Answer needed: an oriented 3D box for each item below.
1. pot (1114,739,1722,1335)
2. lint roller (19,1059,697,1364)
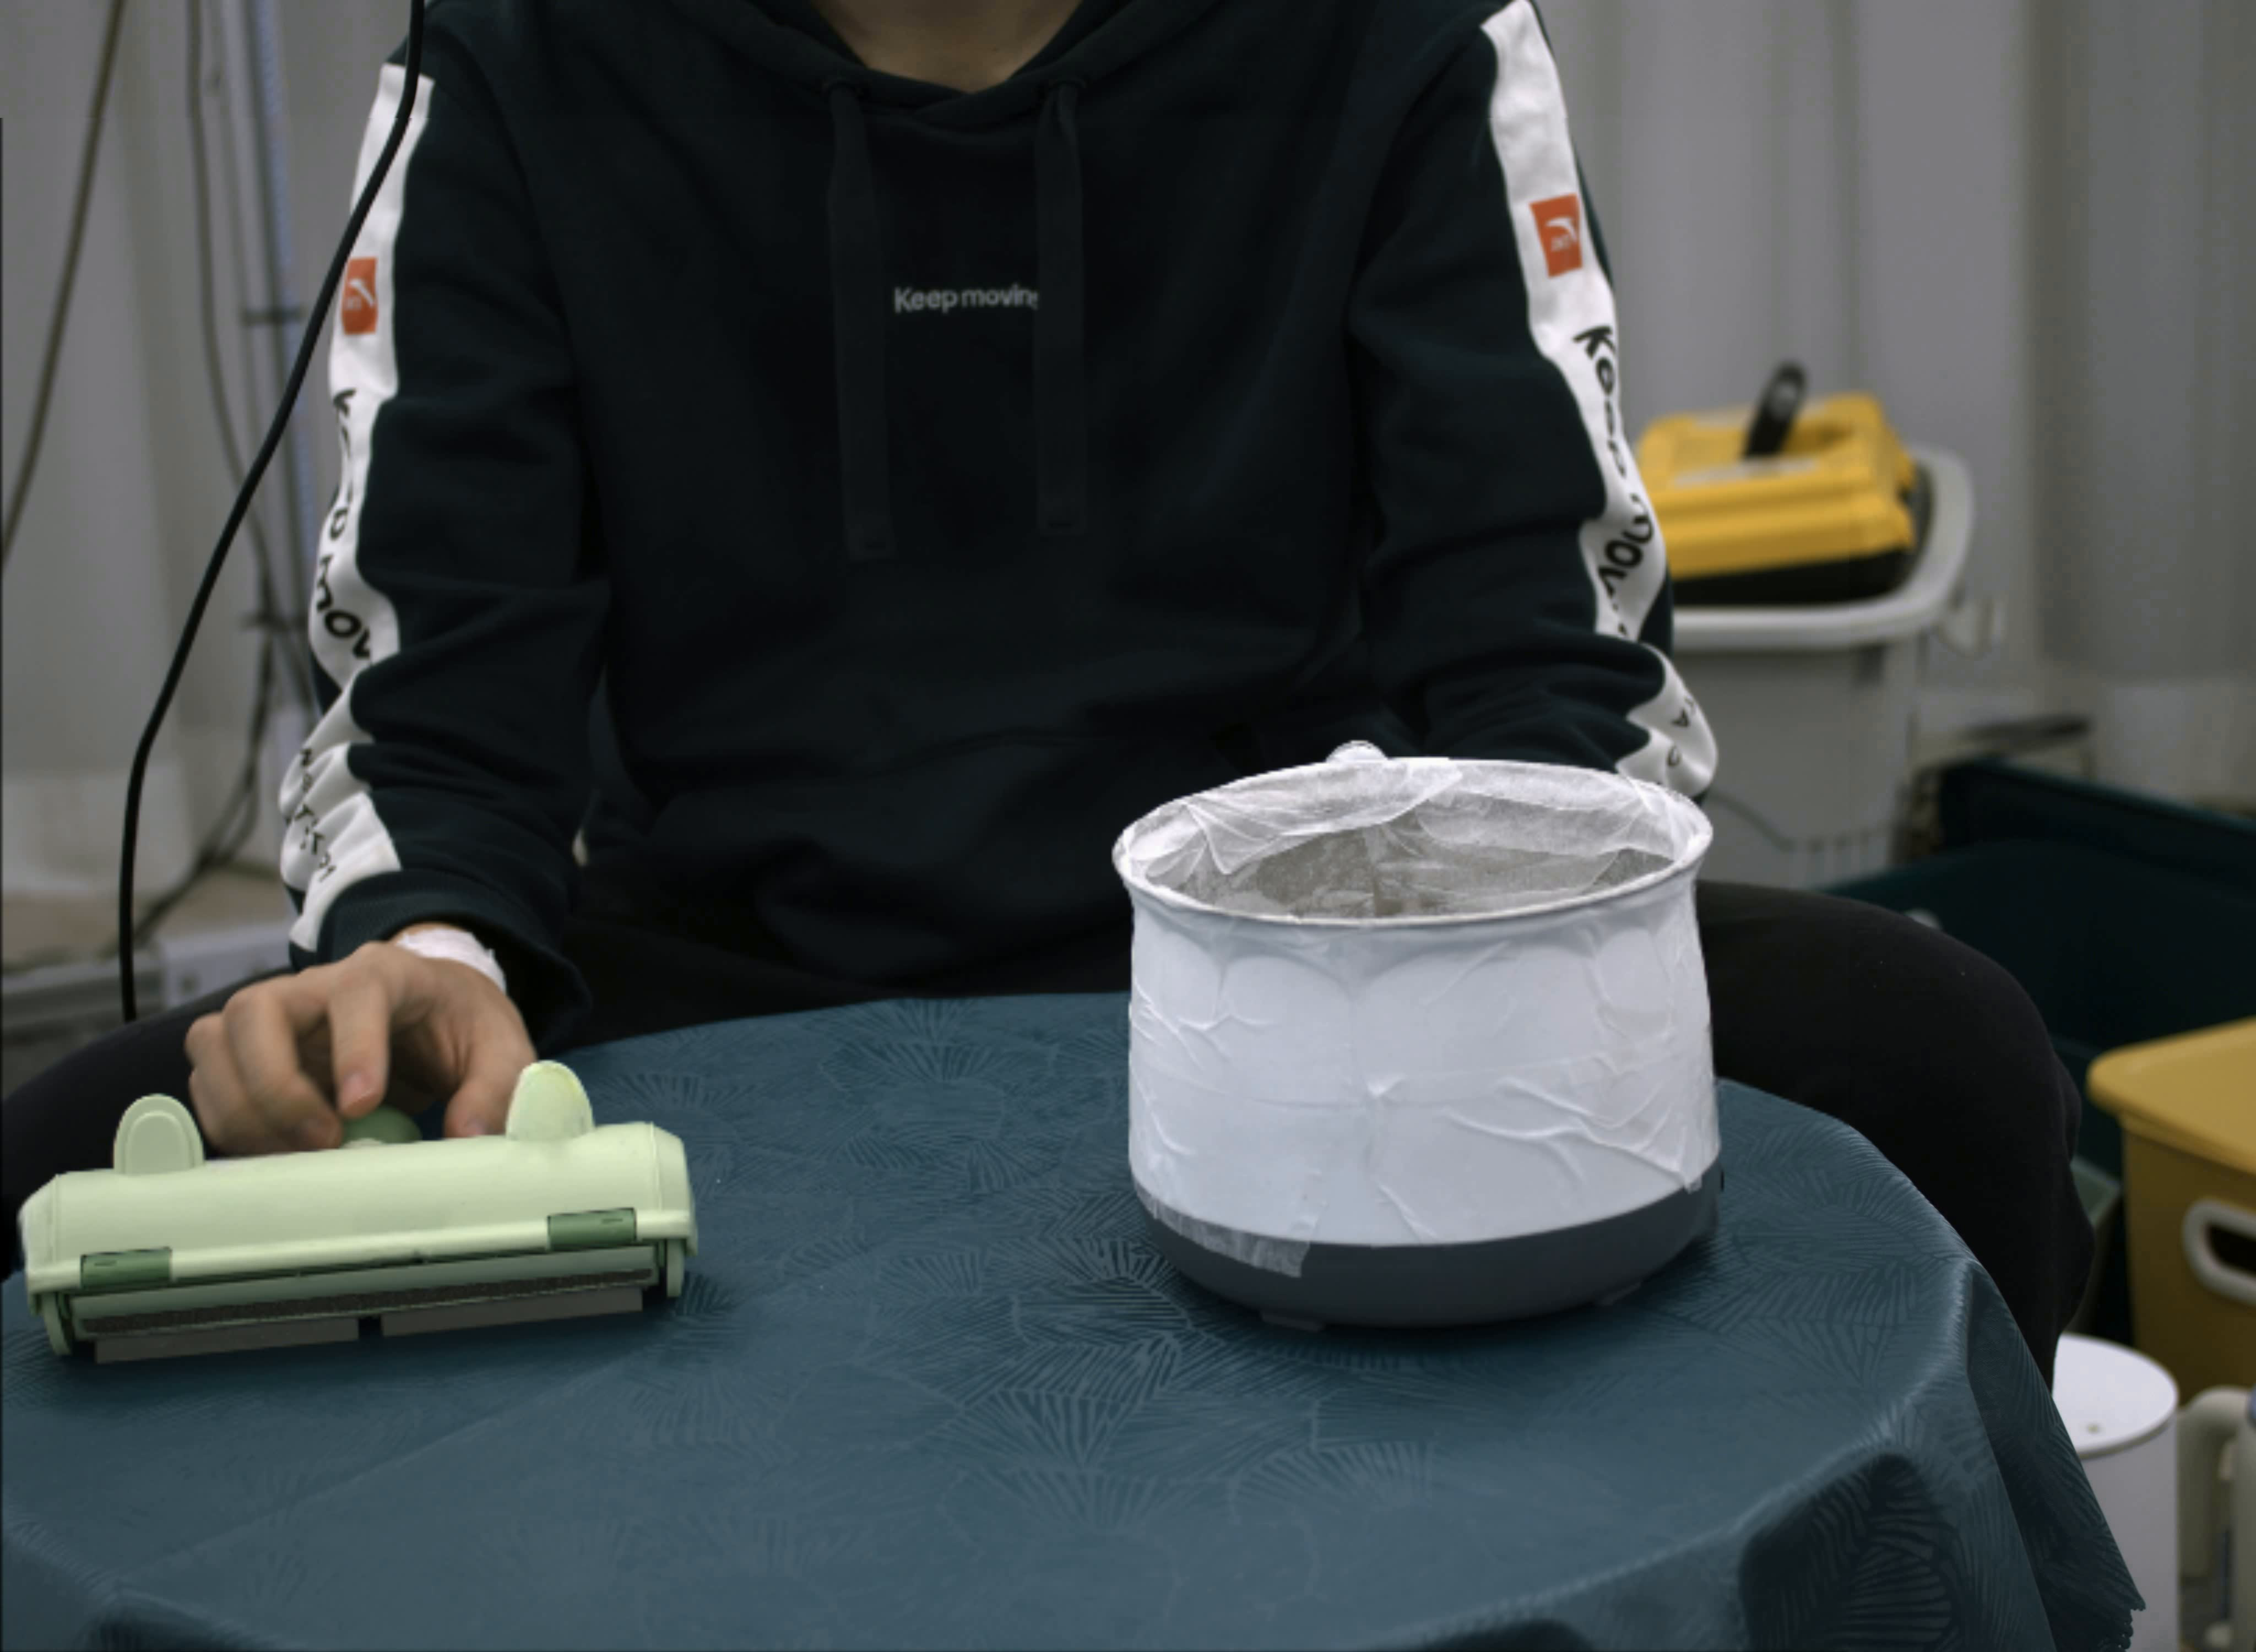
[{"bbox_3d":[0.083,0.058,1.648,0.178,0.136,0.235,-4,15,-7],"label":"pot"},{"bbox_3d":[-0.235,0.099,1.678,0.198,0.081,0.185,-5,20,-6],"label":"lint roller"}]
